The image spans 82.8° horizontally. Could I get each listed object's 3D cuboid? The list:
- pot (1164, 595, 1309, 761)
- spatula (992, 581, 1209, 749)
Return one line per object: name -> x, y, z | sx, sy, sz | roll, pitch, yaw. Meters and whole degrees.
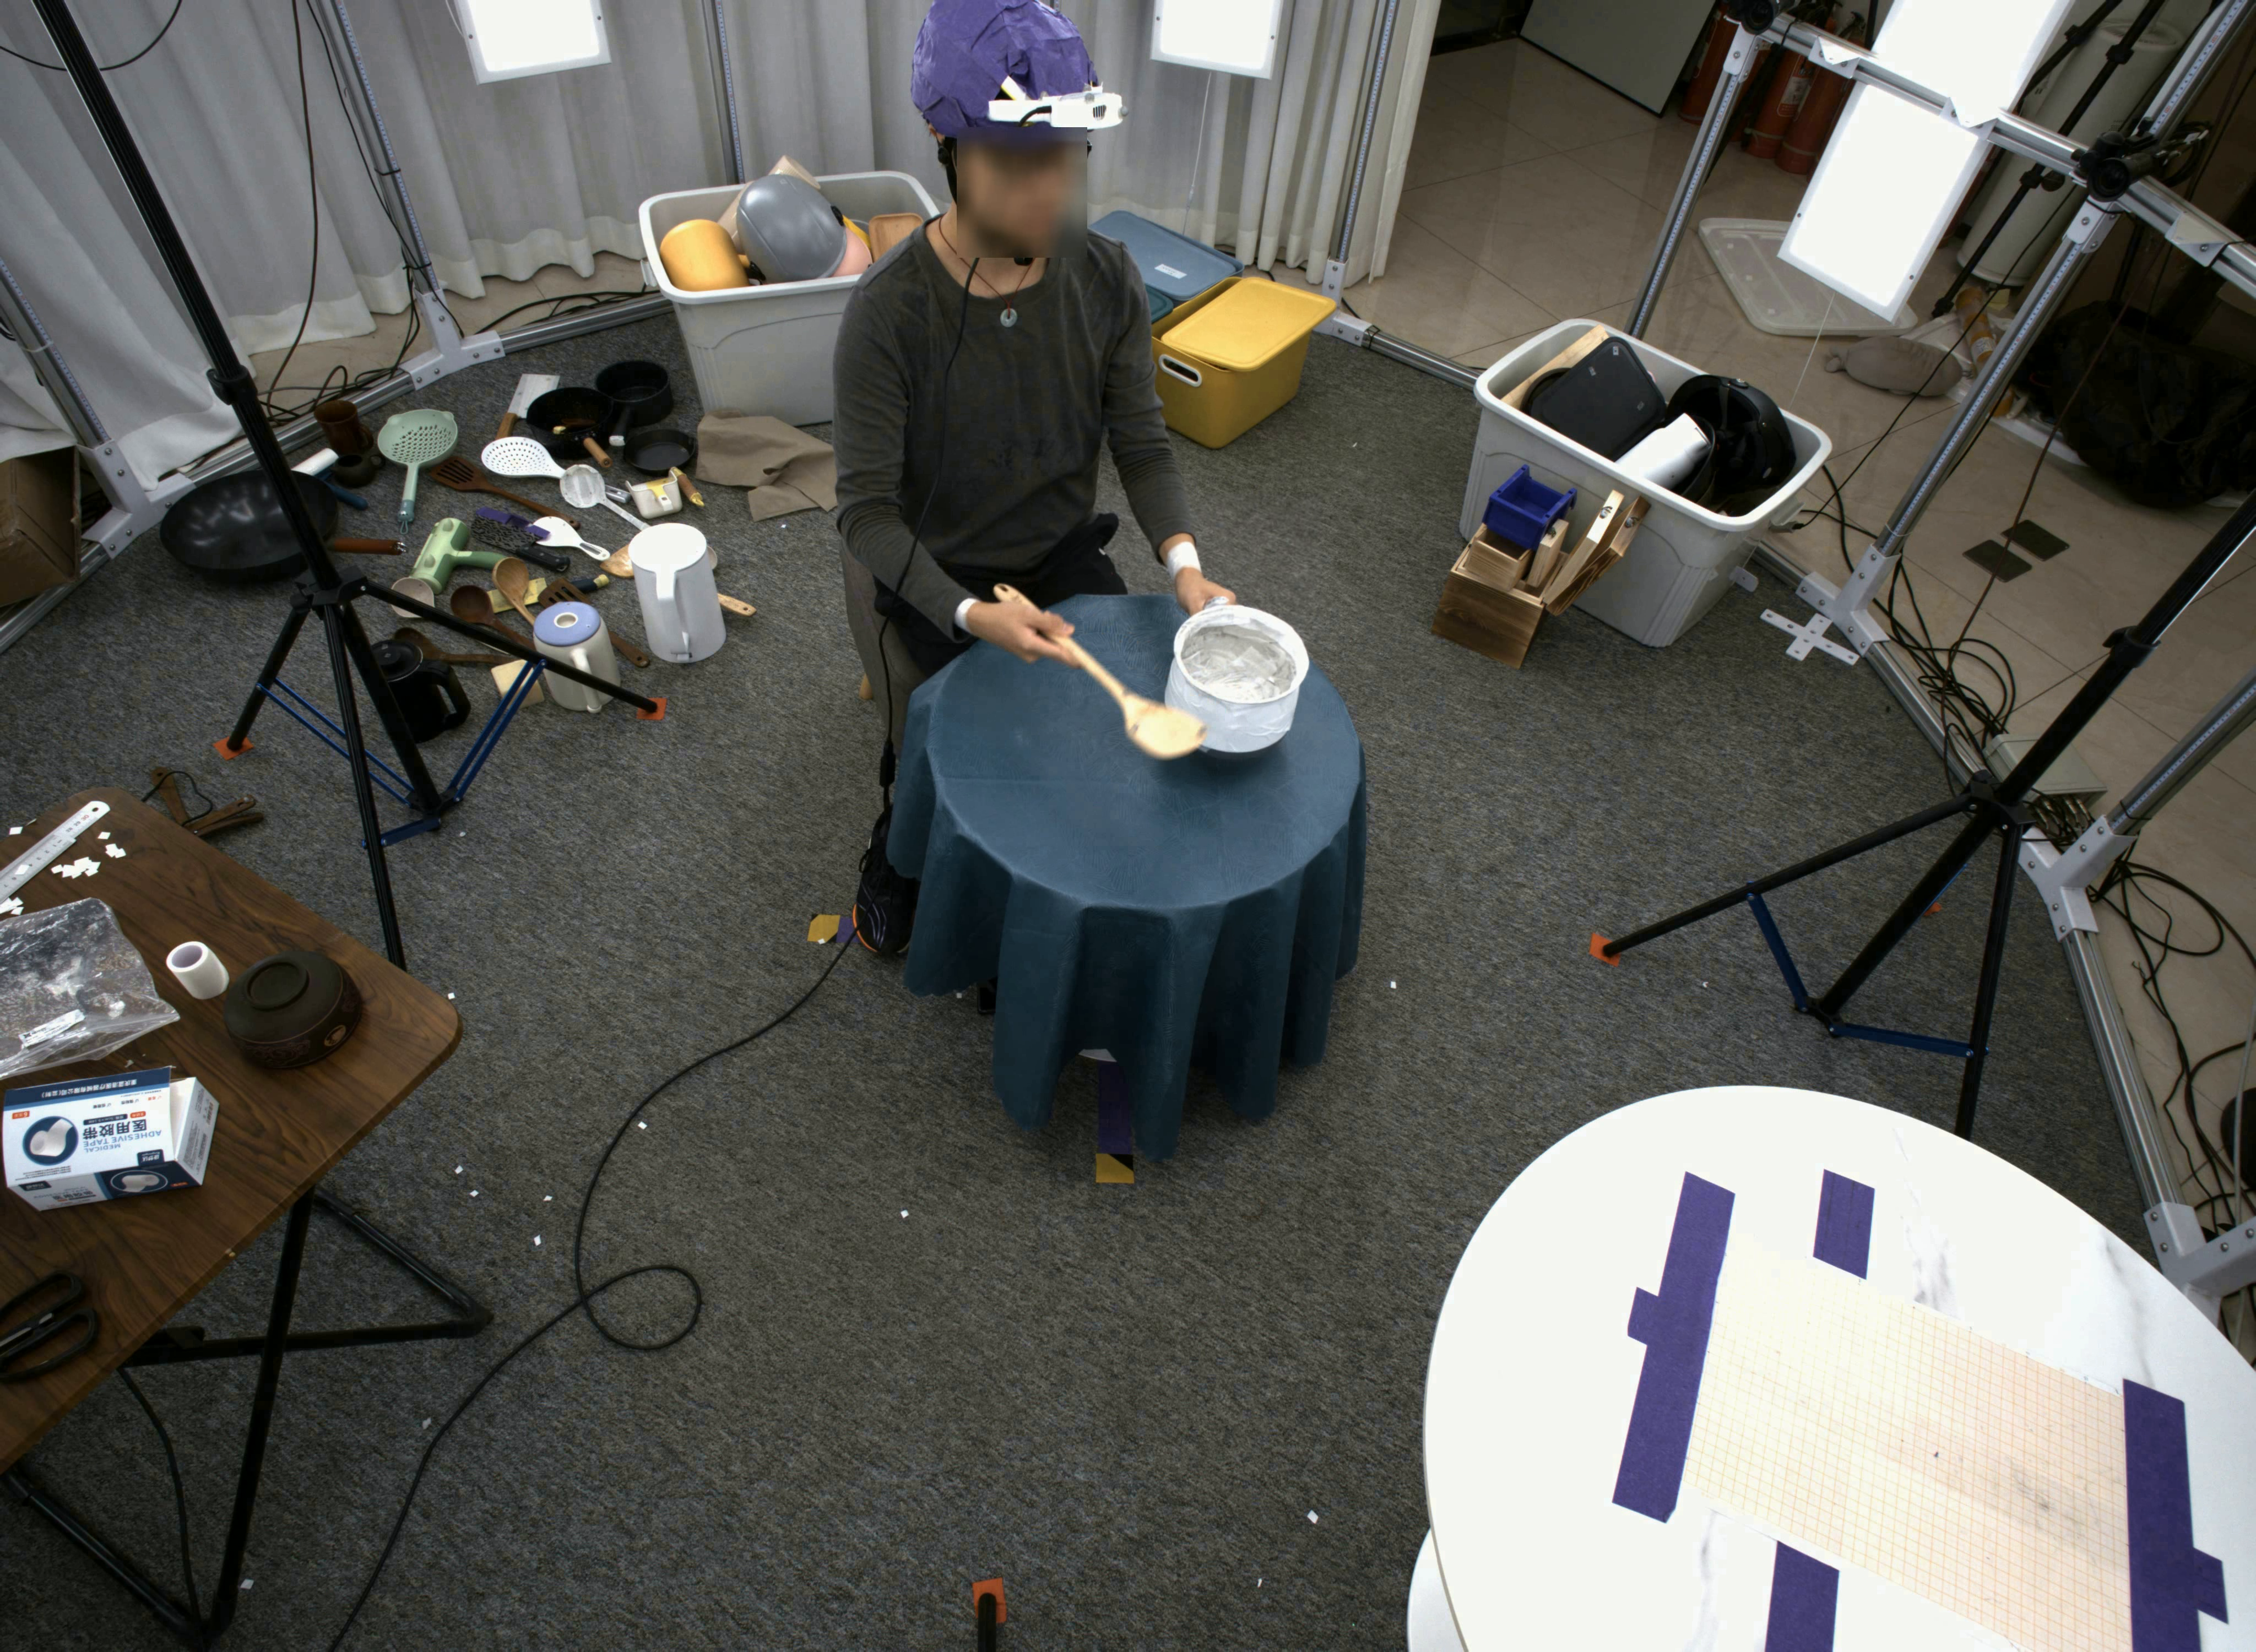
pot -> 0.133, -0.208, 1.719 | 0.178, 0.133, 0.239 | -7, 53, -13
spatula -> -0.053, -0.212, 1.637 | 0.096, 0.018, 0.397 | -24, 53, -36
